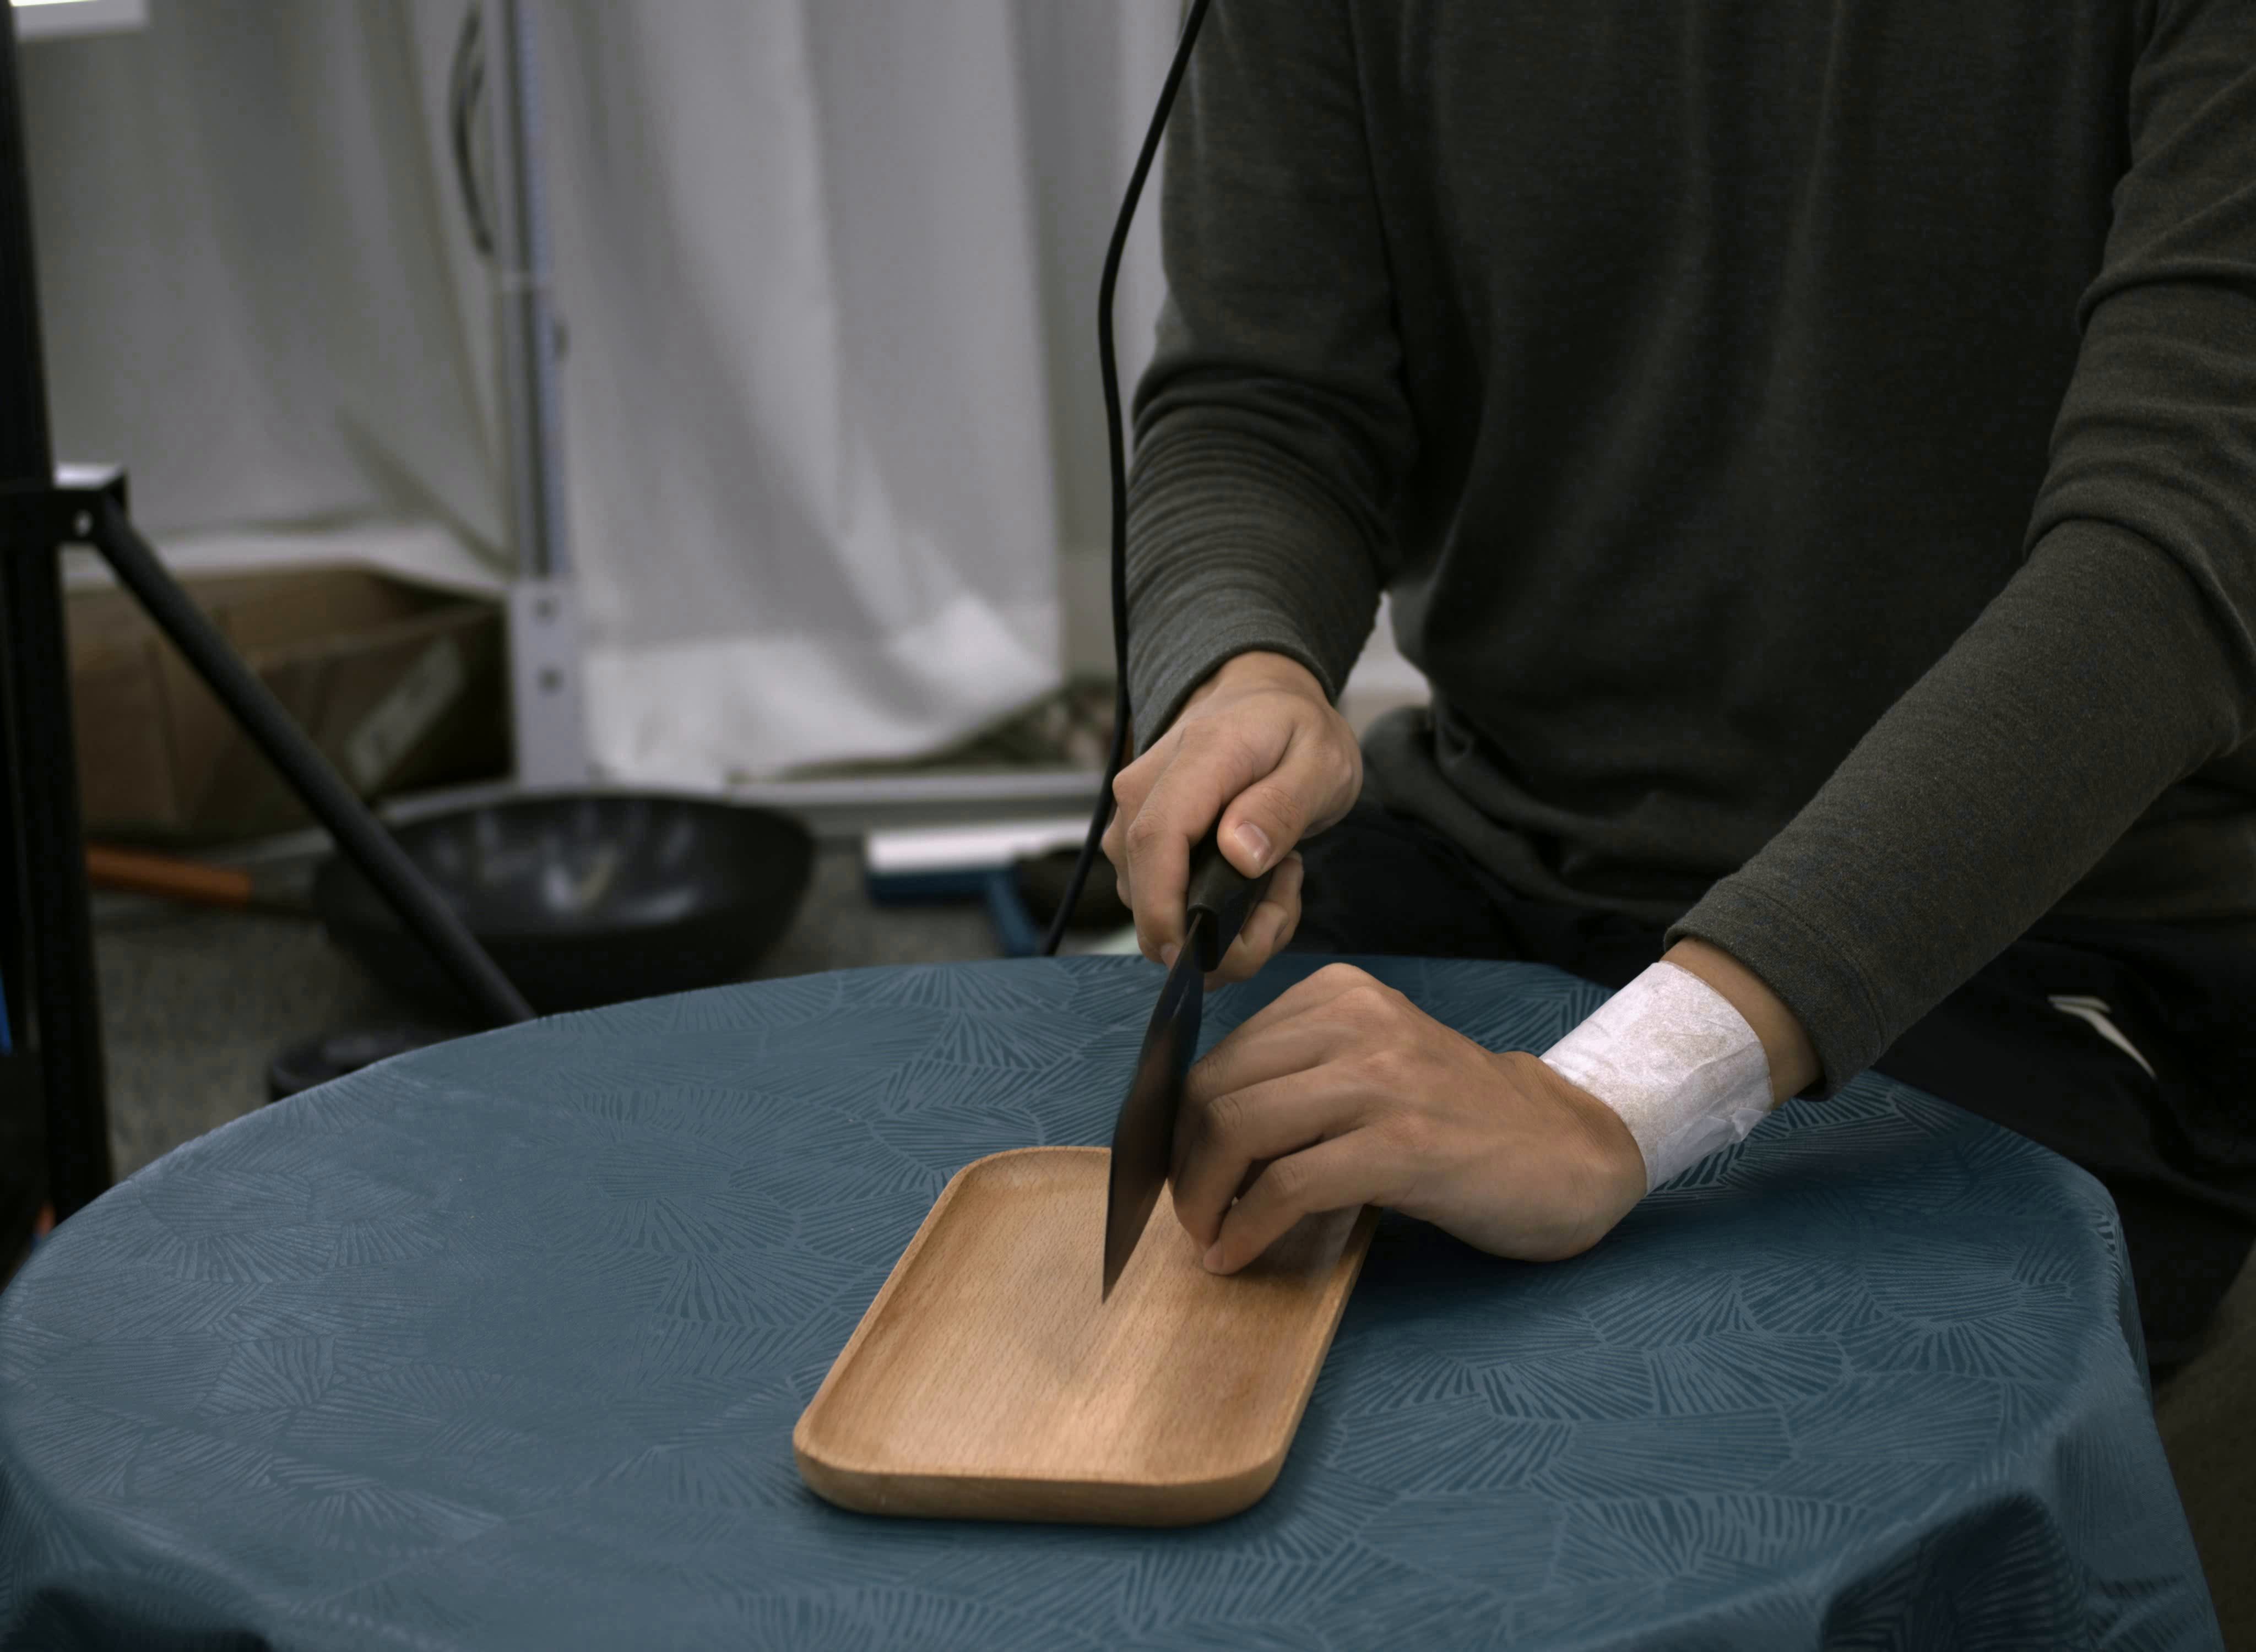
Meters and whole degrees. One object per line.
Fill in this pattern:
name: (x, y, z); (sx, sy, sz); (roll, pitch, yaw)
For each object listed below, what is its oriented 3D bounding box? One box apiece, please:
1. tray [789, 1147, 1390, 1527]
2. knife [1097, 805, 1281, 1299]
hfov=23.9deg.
tray: (-0.005, 0.135, 1.438); (0.131, 0.023, 0.249); (3, 15, 11)
knife: (0.016, 0.055, 1.499); (0.021, 0.081, 0.301); (7, 20, 6)
